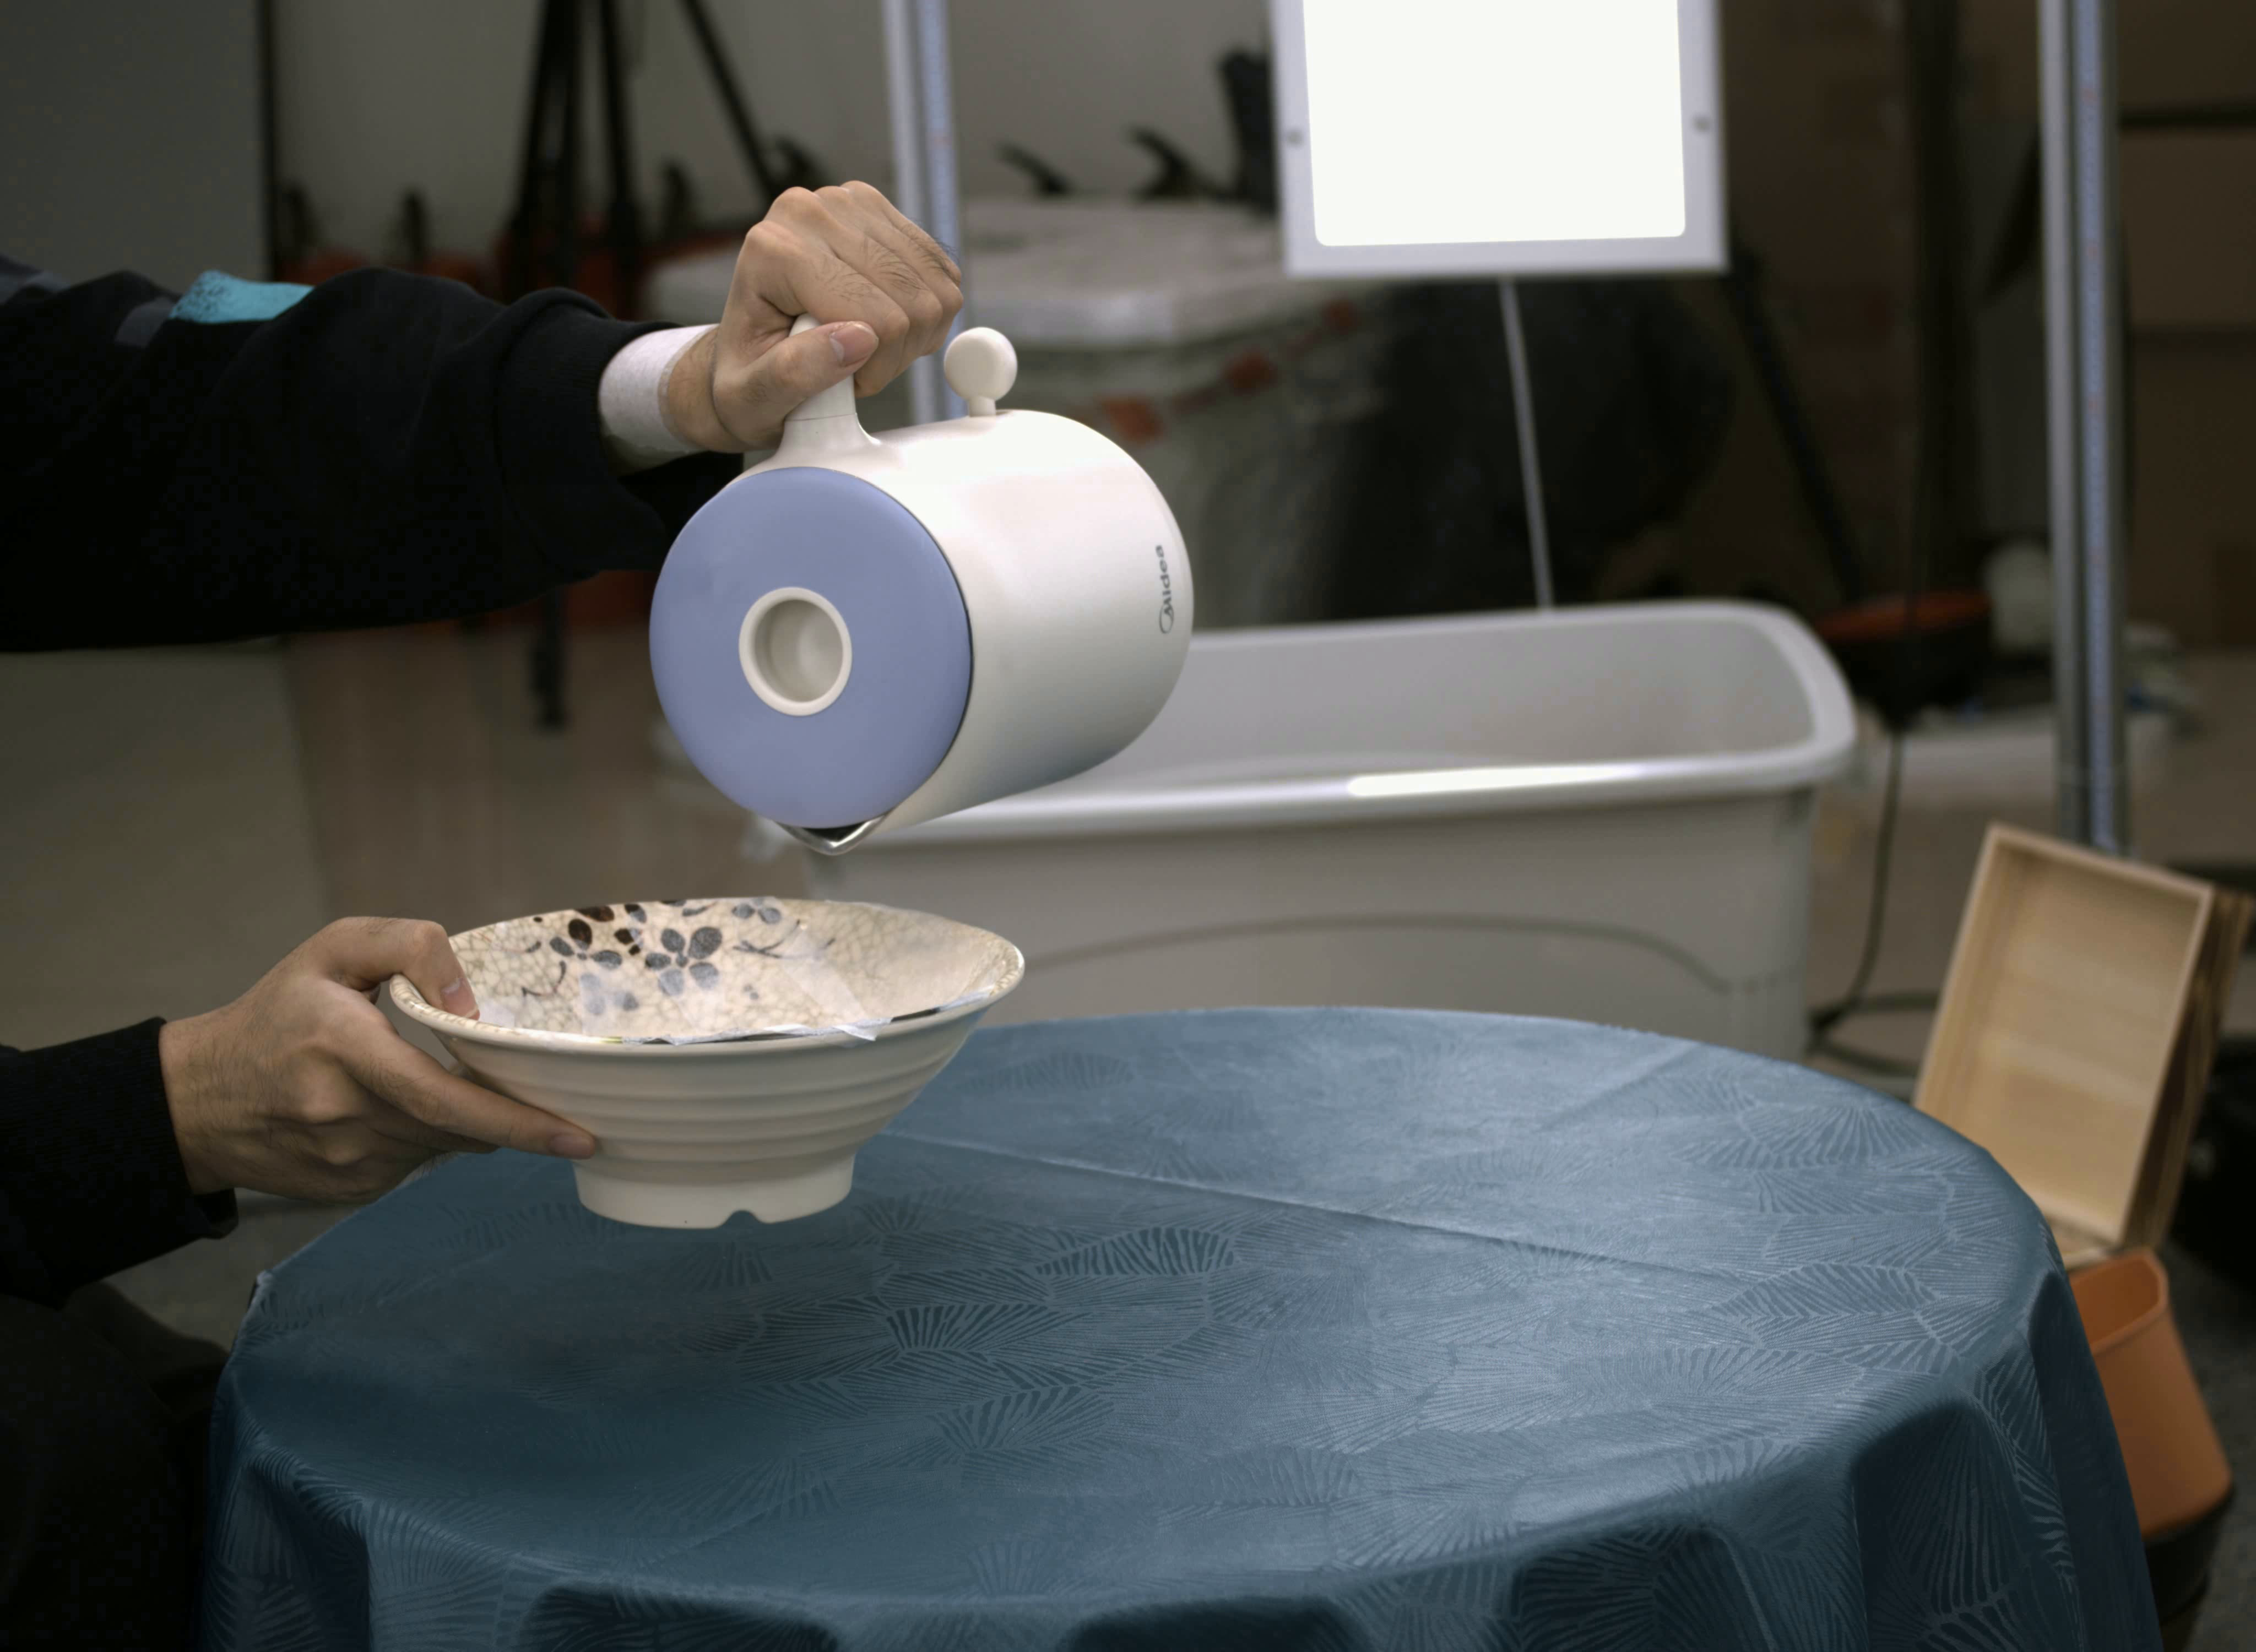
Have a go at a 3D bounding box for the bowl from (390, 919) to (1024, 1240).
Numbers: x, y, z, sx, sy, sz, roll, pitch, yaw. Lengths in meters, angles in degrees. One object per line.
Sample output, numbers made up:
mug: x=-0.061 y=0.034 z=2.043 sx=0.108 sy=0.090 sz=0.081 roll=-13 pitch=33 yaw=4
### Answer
bowl: x=-0.131 y=0.085 z=1.766 sx=0.203 sy=0.078 sz=0.204 roll=-5 pitch=9 yaw=-1

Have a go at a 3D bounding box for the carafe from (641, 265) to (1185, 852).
carafe: x=-0.074 y=-0.094 z=1.853 sx=0.134 sy=0.191 sz=0.179 roll=-6 pitch=3 yaw=27
